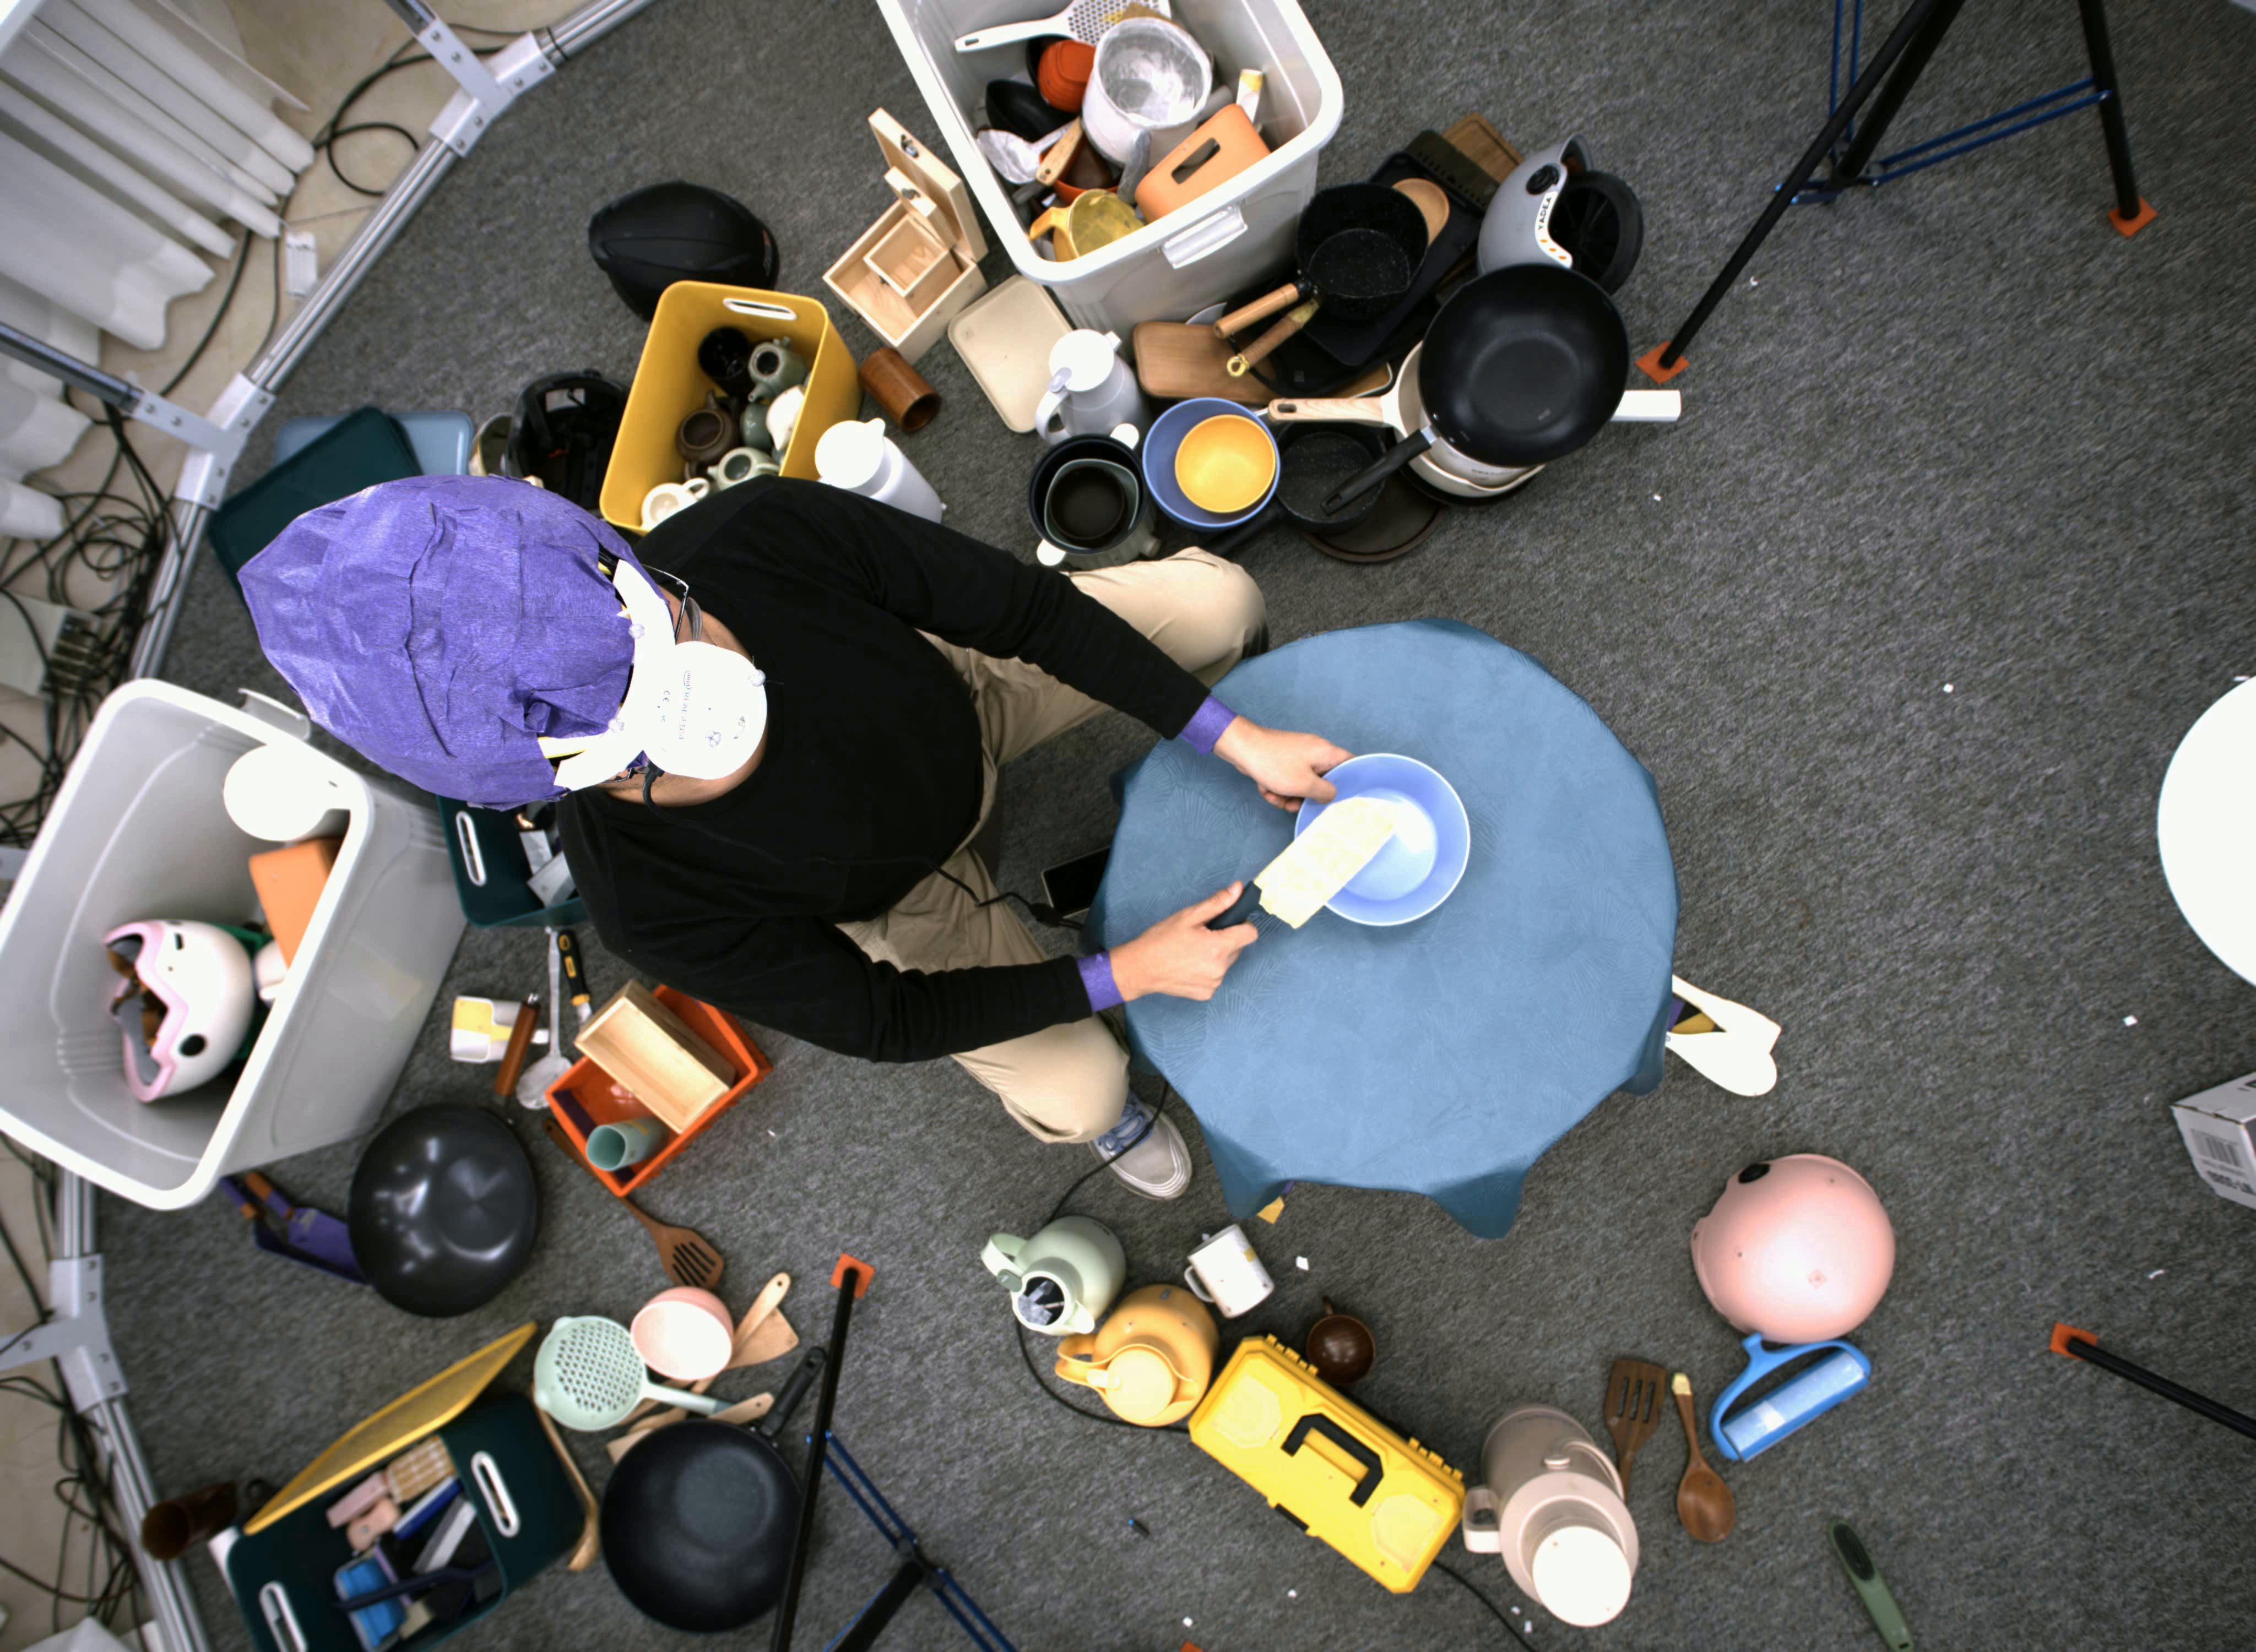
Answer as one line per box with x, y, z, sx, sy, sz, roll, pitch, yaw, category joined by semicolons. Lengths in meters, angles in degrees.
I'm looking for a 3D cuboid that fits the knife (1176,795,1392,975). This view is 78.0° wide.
0.157;0.065;1.404;0.081;0.026;0.295;39;117;-16;knife

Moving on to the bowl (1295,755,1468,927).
0.262;0.016;1.431;0.177;0.070;0.175;-1;87;11;bowl
